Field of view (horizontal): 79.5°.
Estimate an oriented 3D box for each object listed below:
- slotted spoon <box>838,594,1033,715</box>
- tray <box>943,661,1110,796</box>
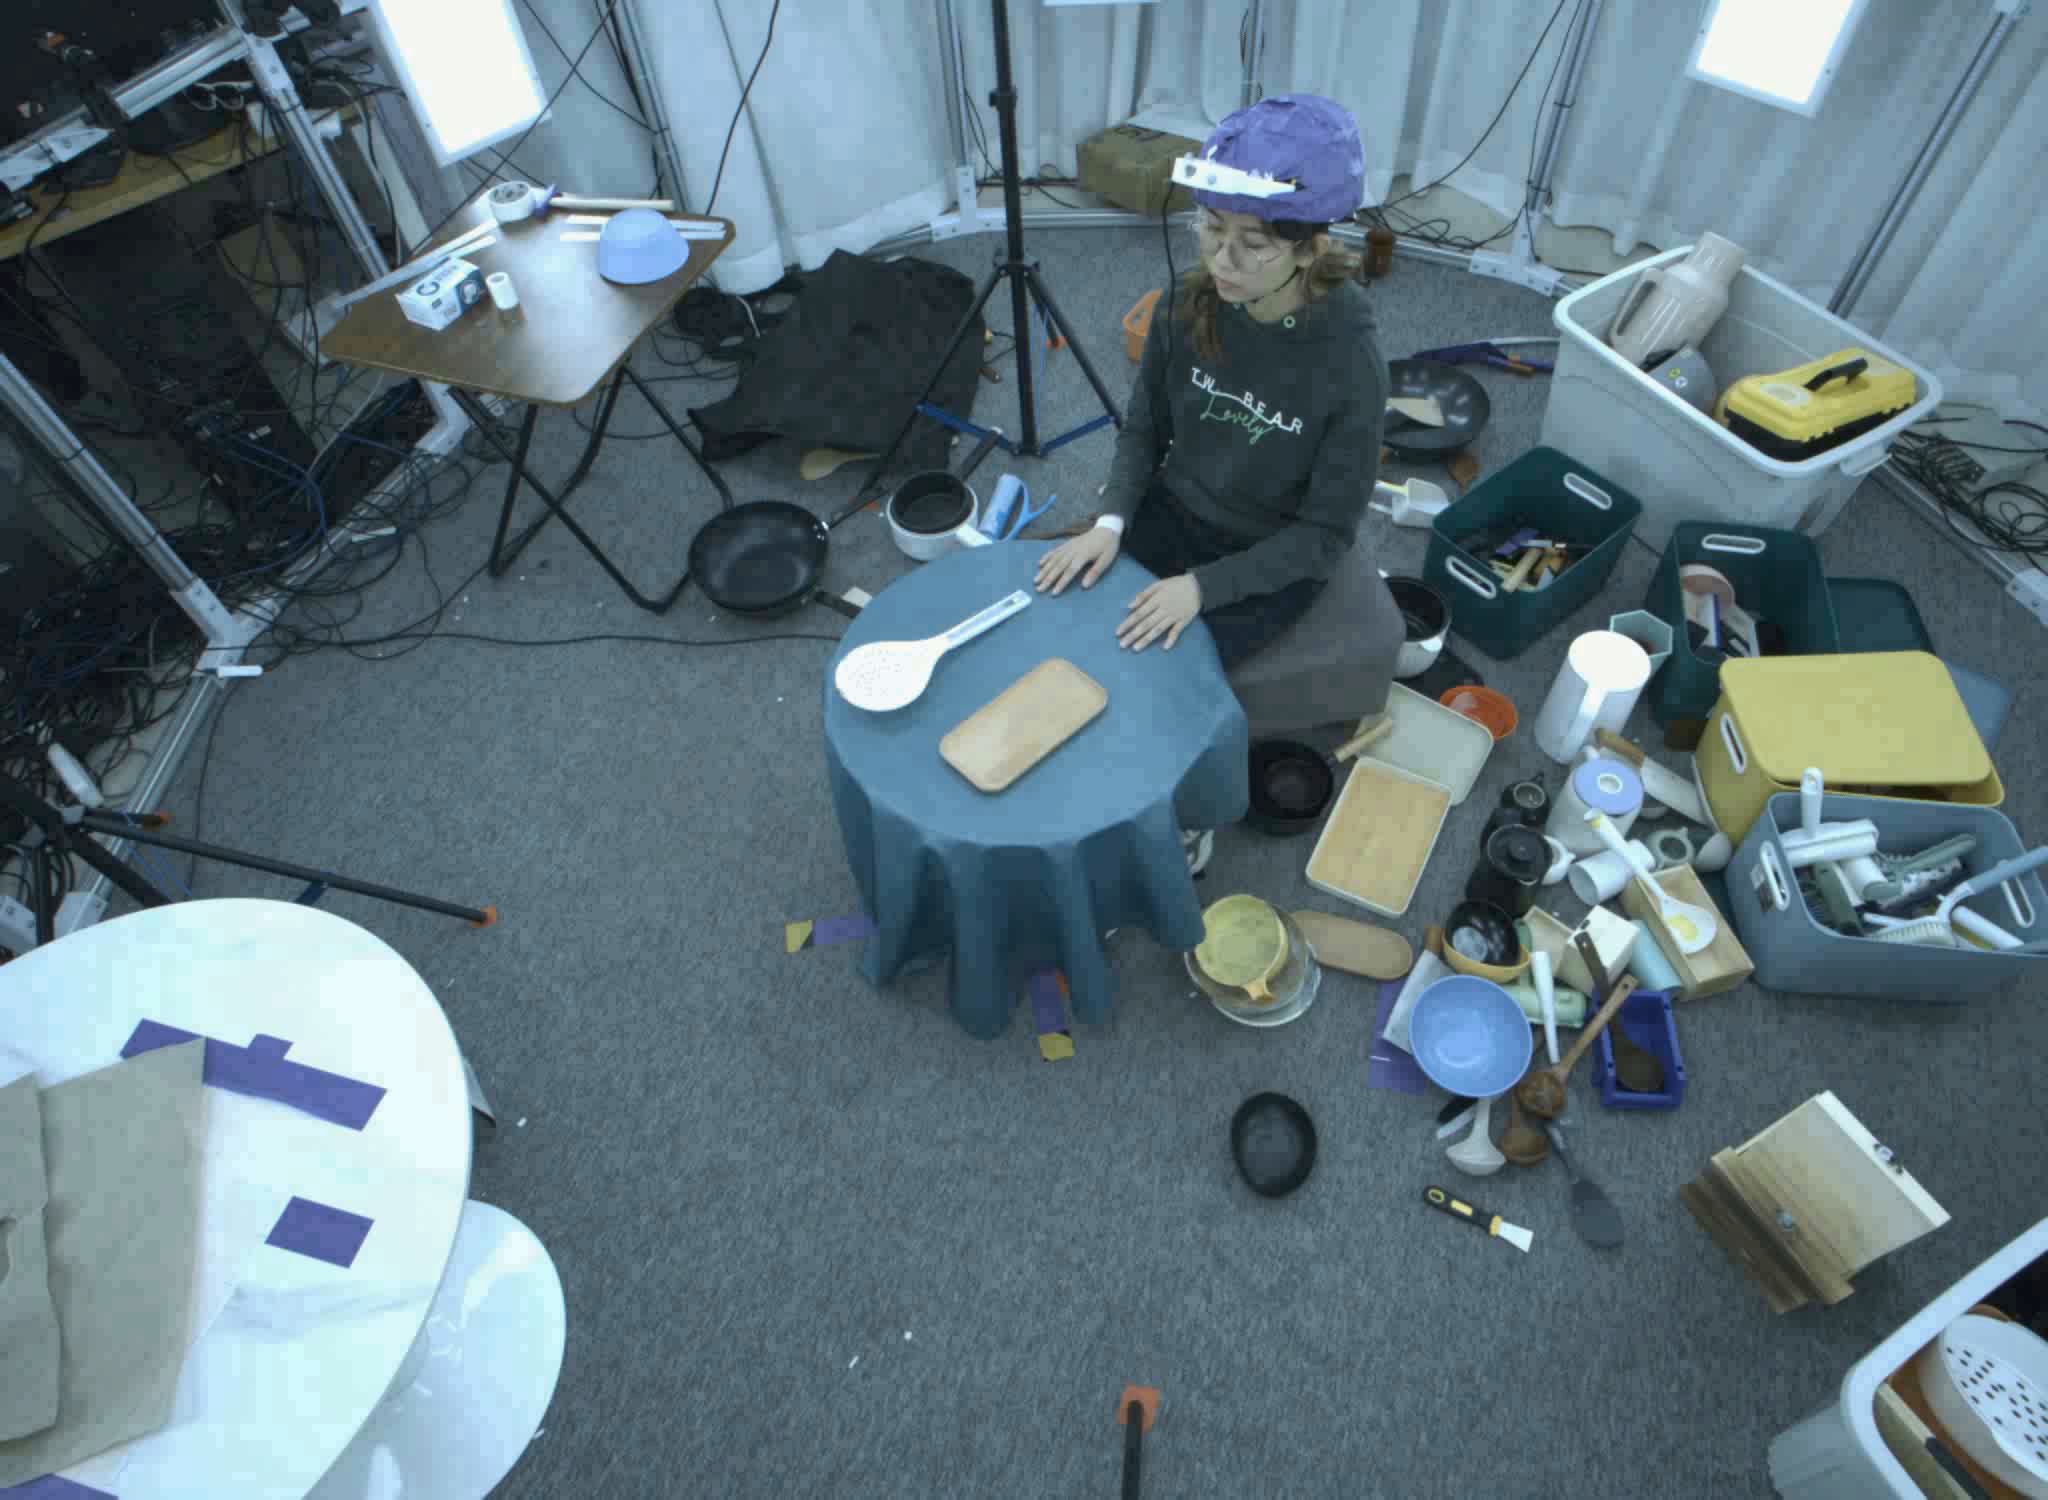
[{"bbox_3d":[-0.127,-0.155,1.883,0.352,0.046,0.133,-35,63,-22],"label":"slotted spoon"},{"bbox_3d":[0.005,-0.034,1.811,0.252,0.023,0.128,-38,64,-23],"label":"tray"}]
